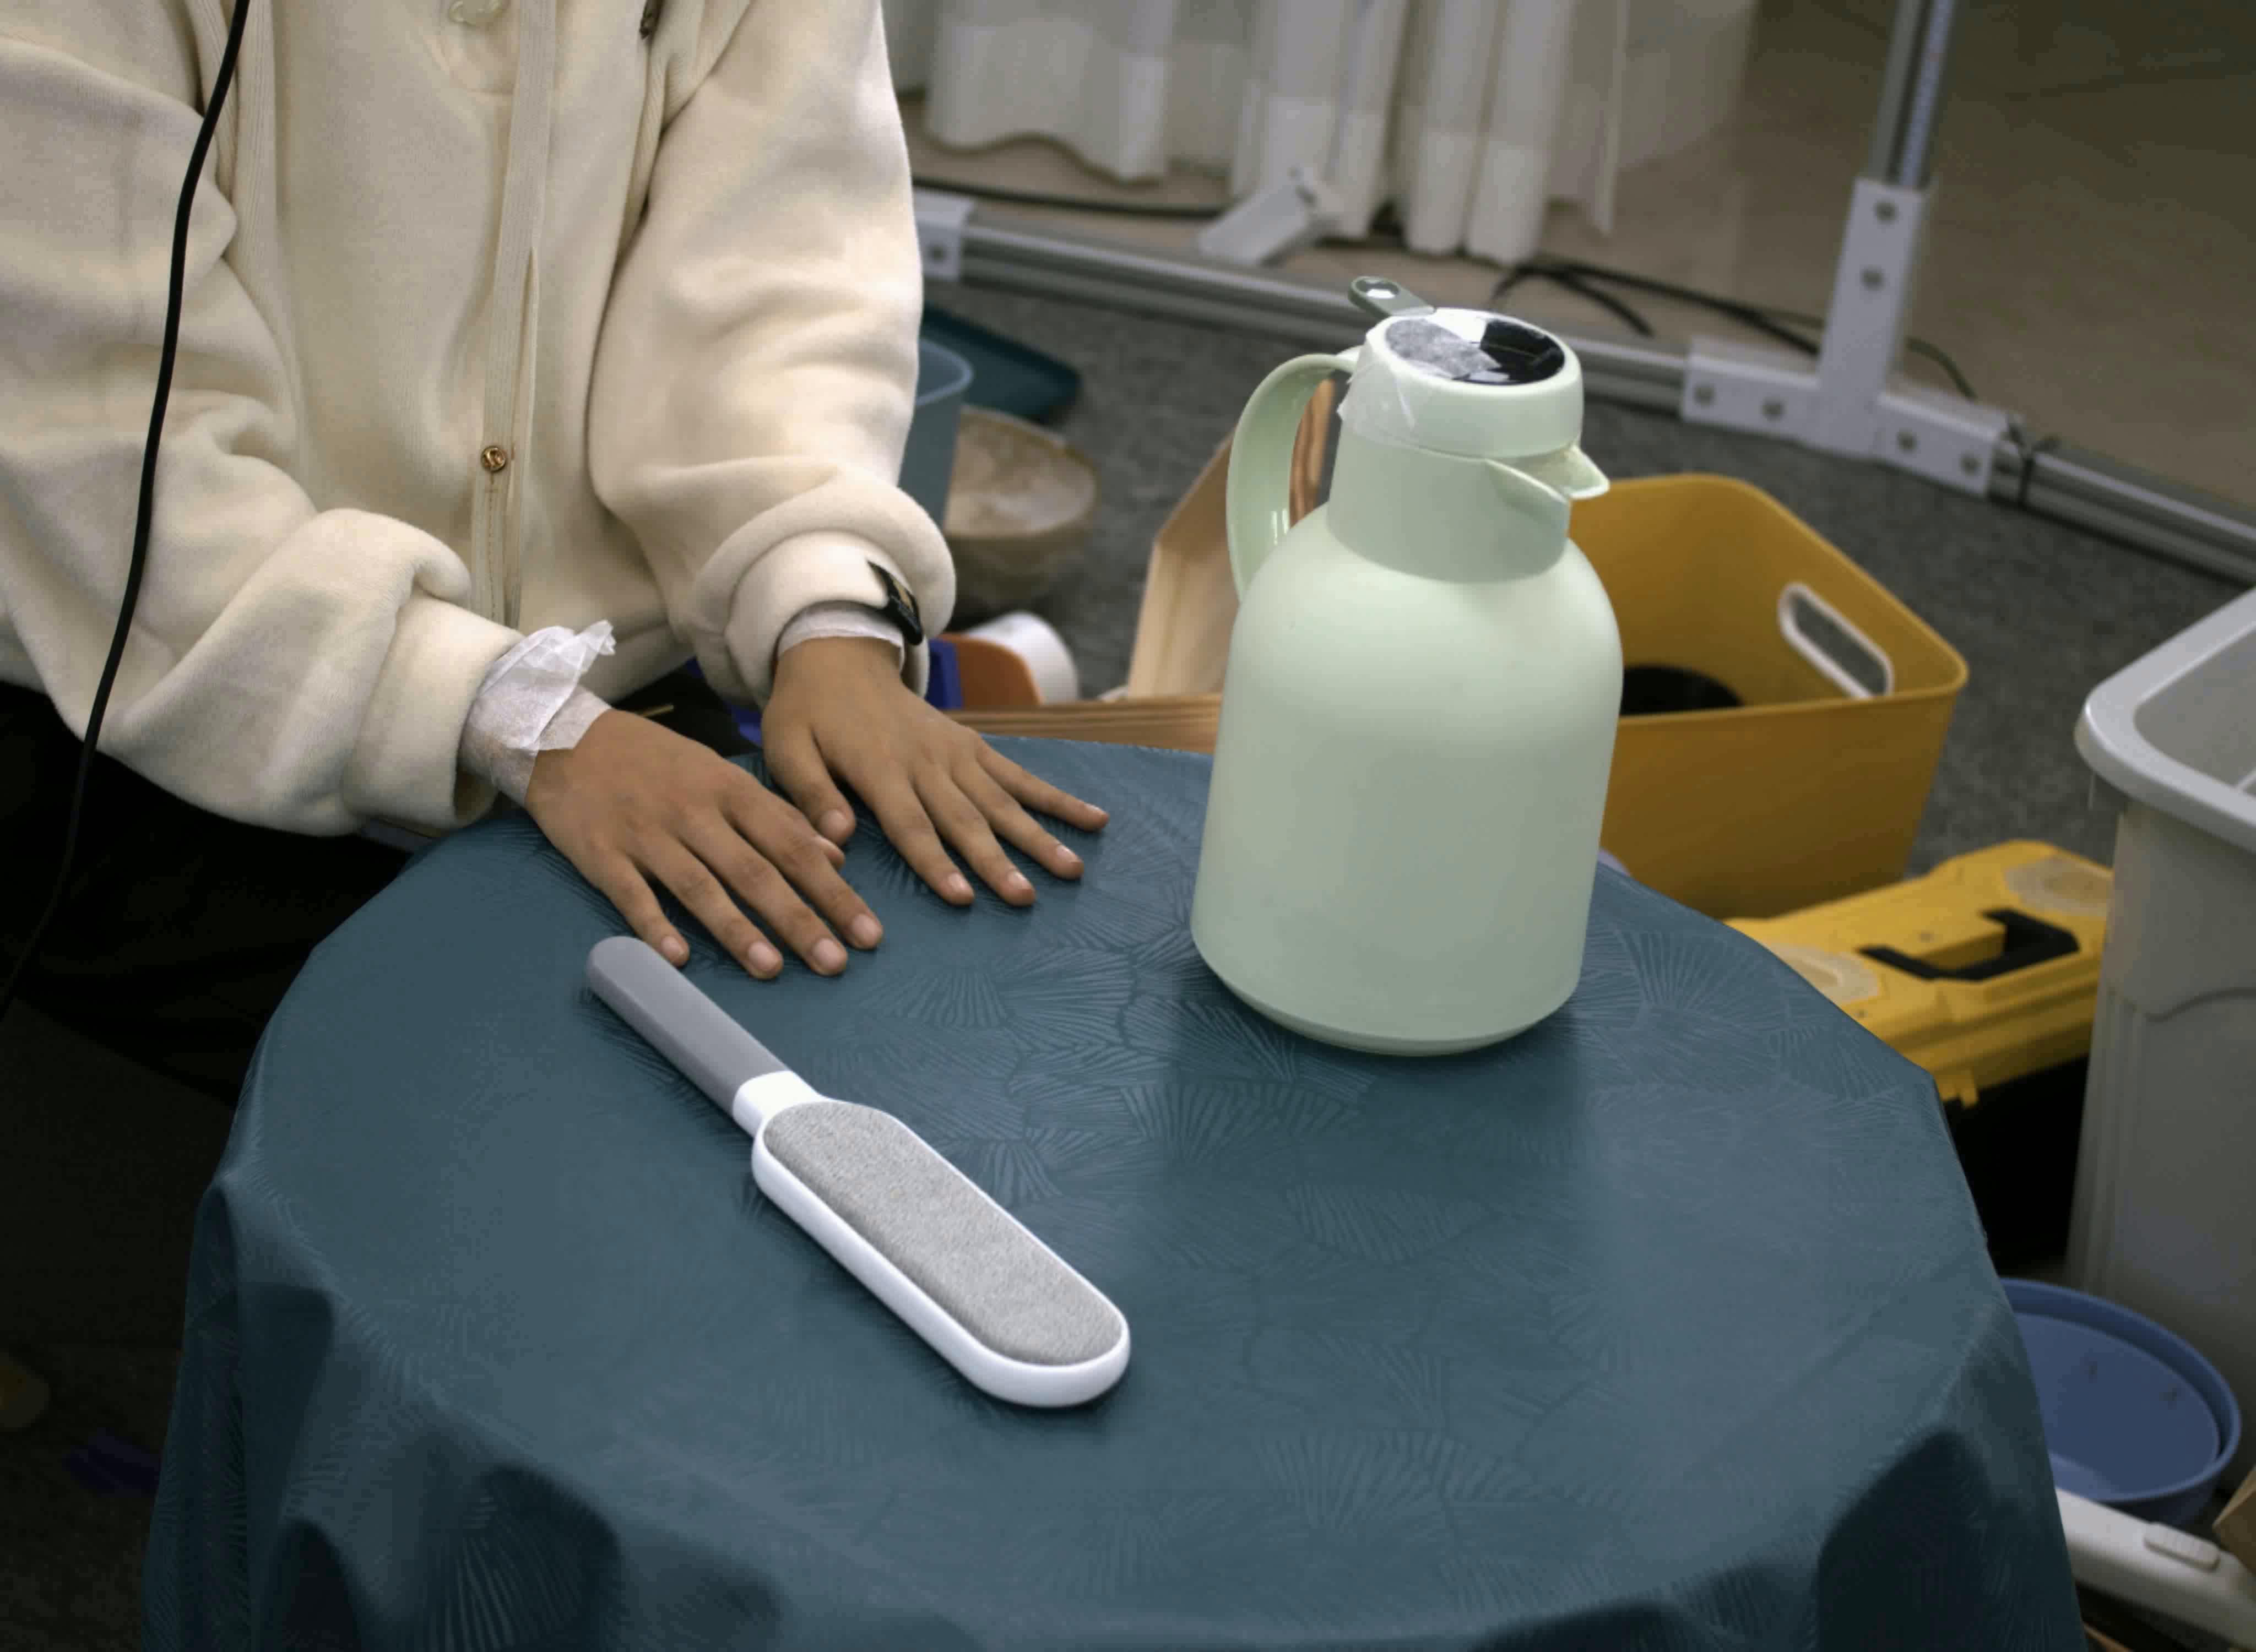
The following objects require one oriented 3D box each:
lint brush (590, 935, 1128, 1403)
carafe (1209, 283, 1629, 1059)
[{"bbox_3d":[-0.097,0.110,1.781,0.060,0.021,0.311,-14,33,-31],"label":"lint brush"},{"bbox_3d":[0.100,-0.061,1.913,0.143,0.256,0.188,-13,29,-32],"label":"carafe"}]
